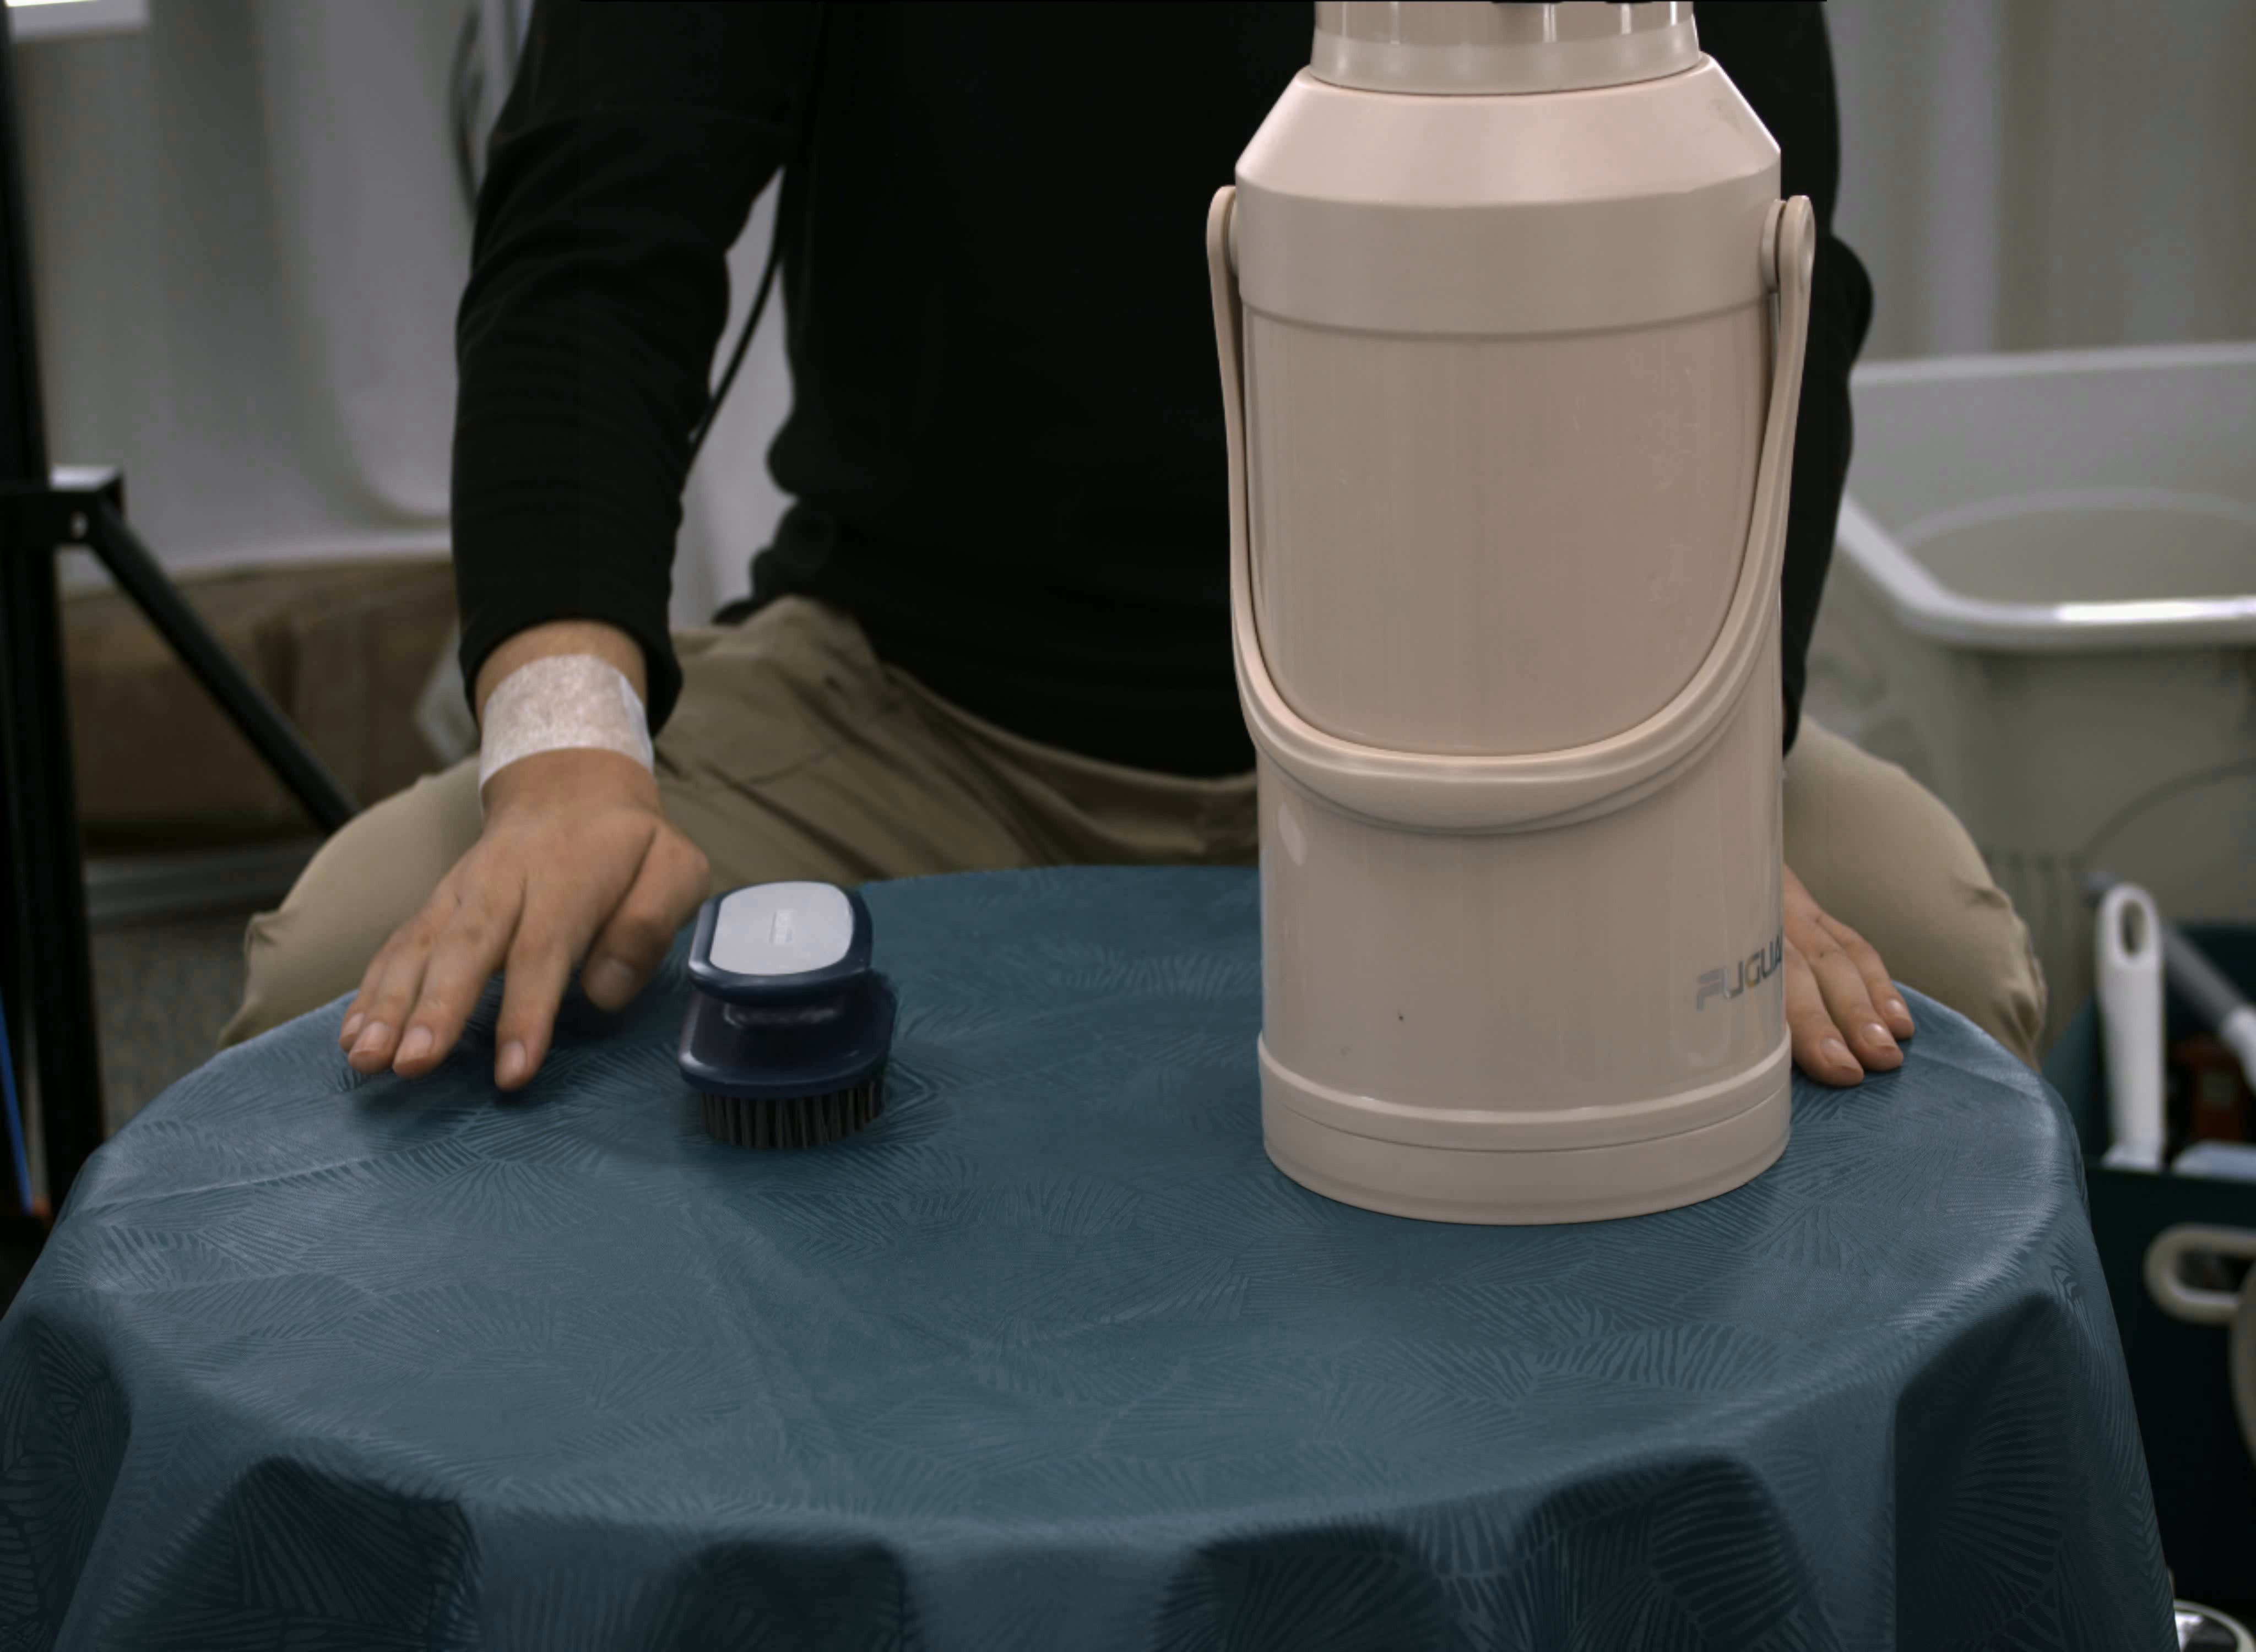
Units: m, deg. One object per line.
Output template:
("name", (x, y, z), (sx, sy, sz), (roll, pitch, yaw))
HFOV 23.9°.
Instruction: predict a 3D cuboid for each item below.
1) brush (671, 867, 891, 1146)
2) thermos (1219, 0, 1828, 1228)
("brush", (-0.107, 0.058, 1.654), (0.068, 0.061, 0.122), (1, 18, 2))
("thermos", (0.121, -0.101, 1.550), (0.177, 0.406, 0.205), (2, 16, 20))
